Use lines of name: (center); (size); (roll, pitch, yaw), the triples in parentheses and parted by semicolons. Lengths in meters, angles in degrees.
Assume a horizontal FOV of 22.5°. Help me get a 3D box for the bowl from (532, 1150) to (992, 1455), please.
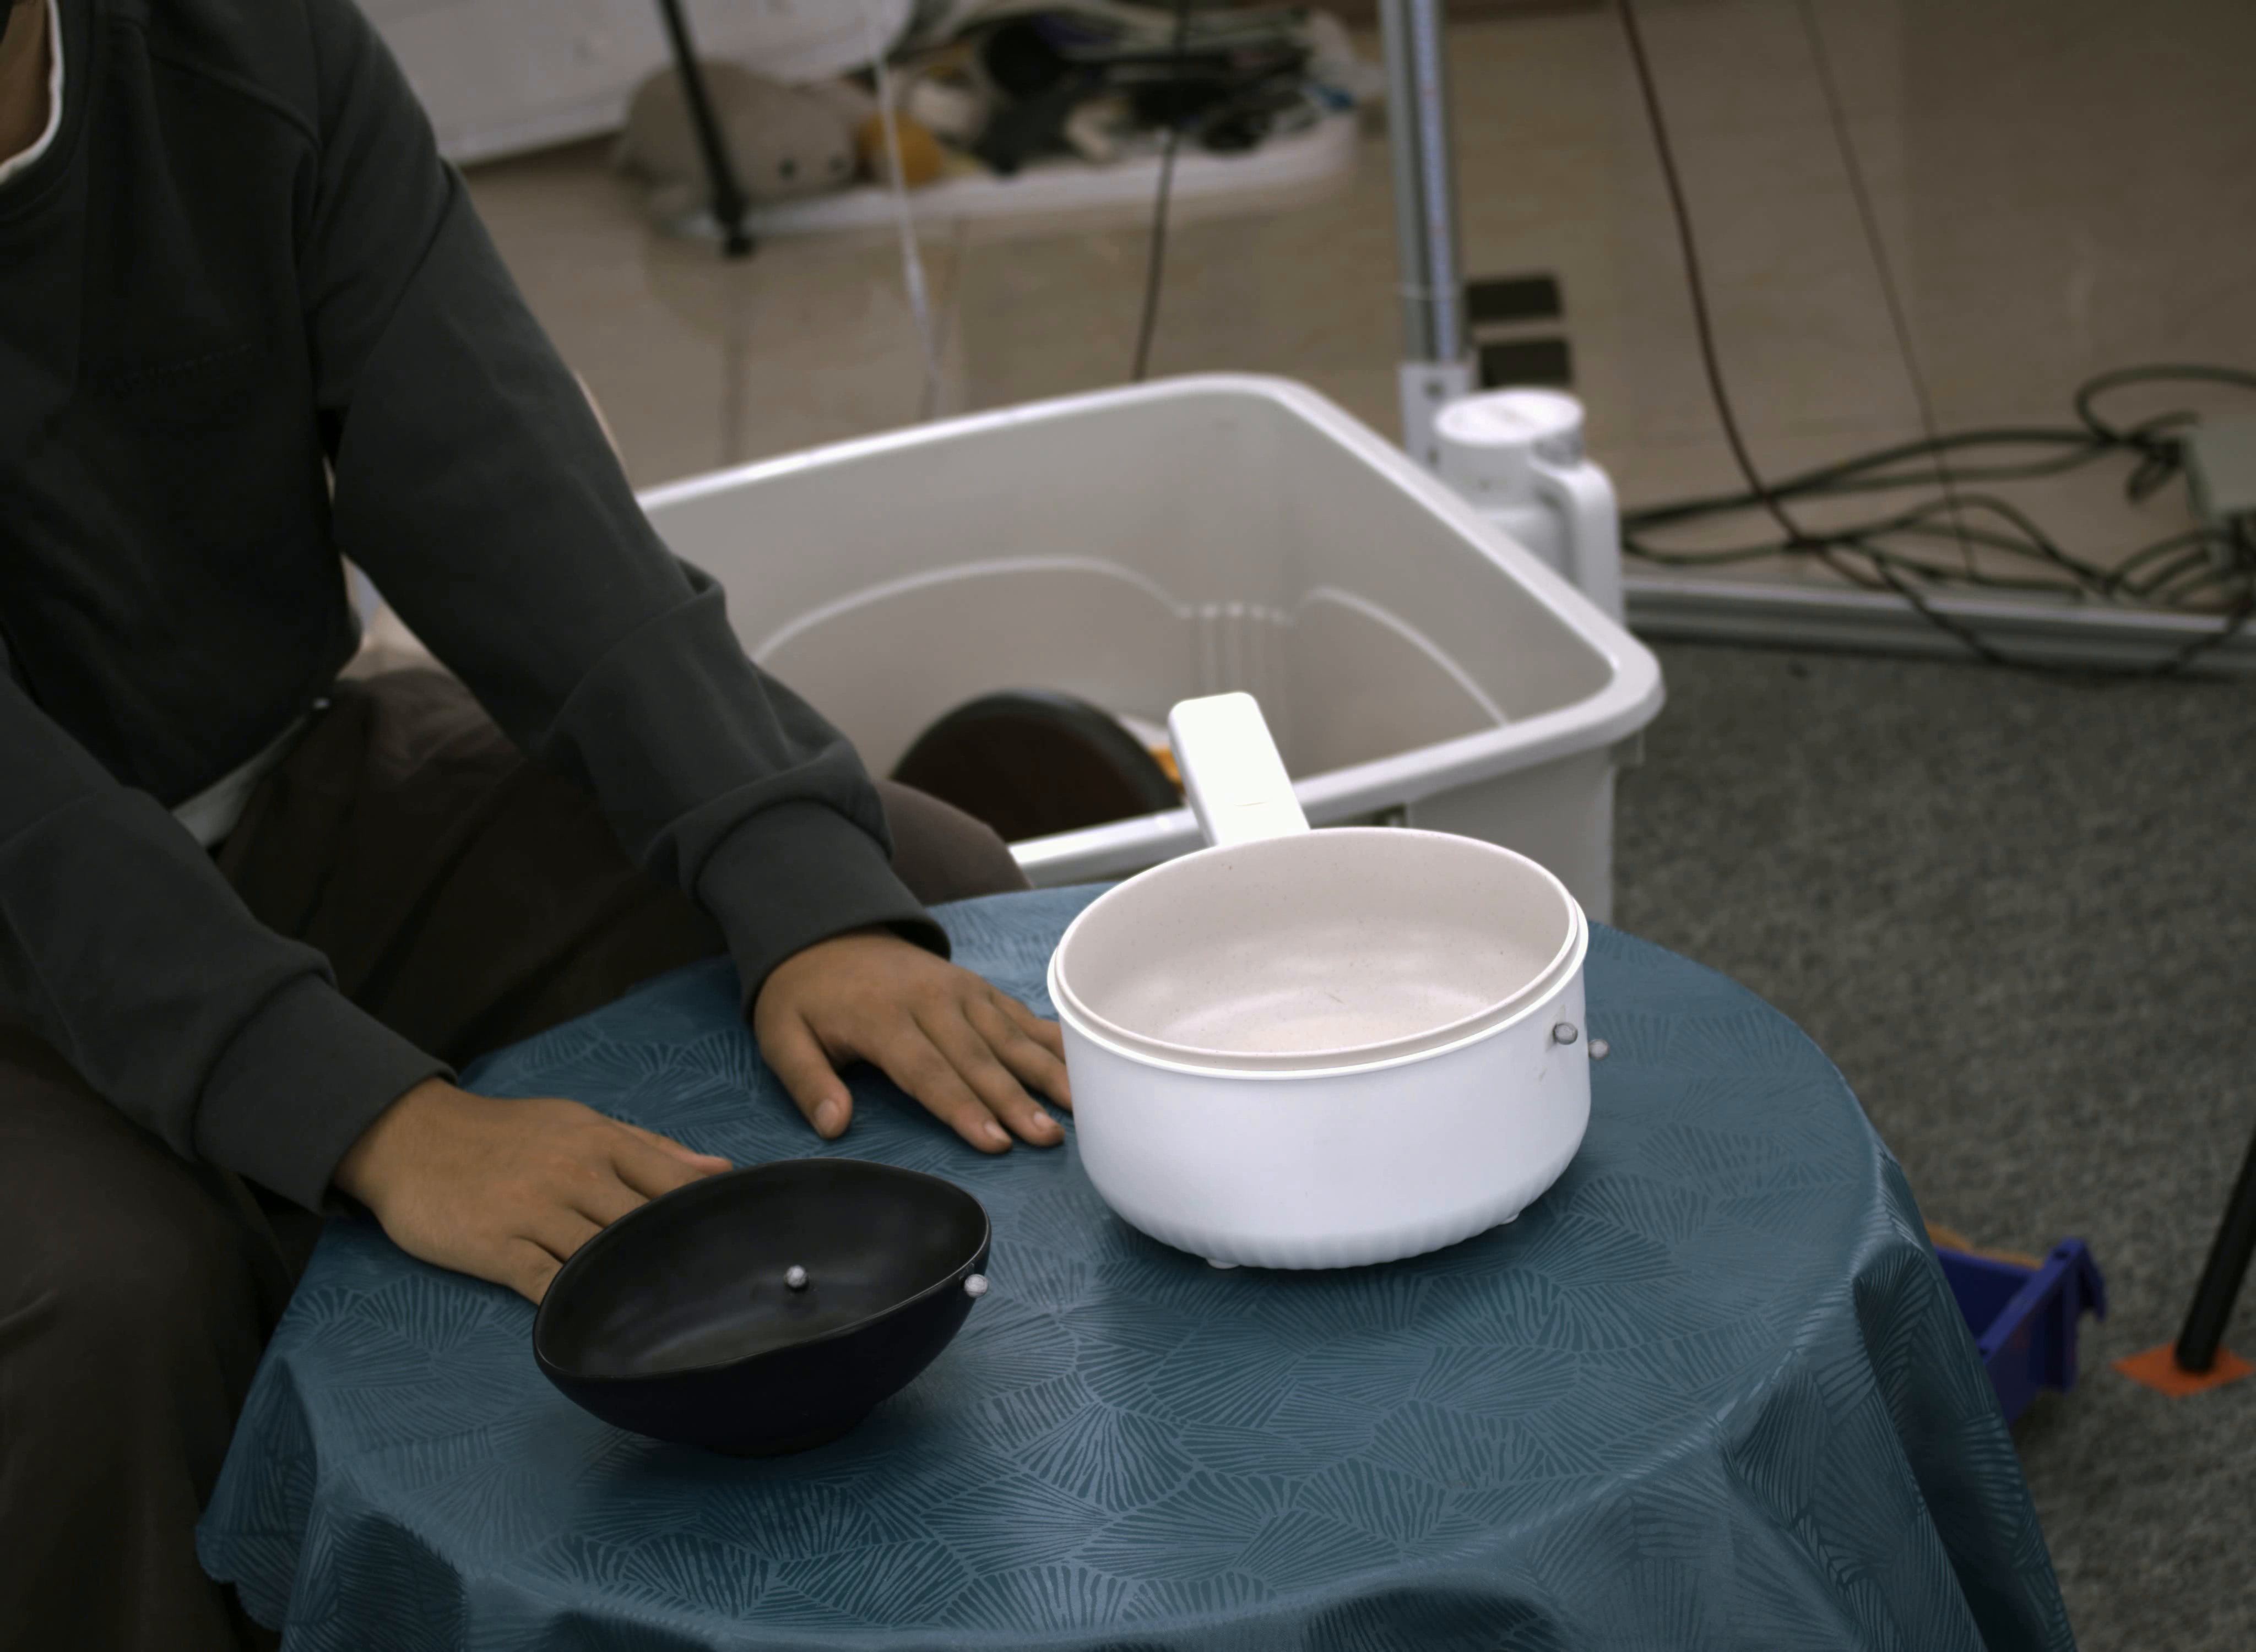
bowl: (-0.125, 0.179, 2.013); (0.169, 0.068, 0.136); (-19, 27, -21)

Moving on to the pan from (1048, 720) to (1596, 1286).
pan: (0.065, 0.065, 2.193); (0.201, 0.103, 0.350); (-12, 23, -4)
